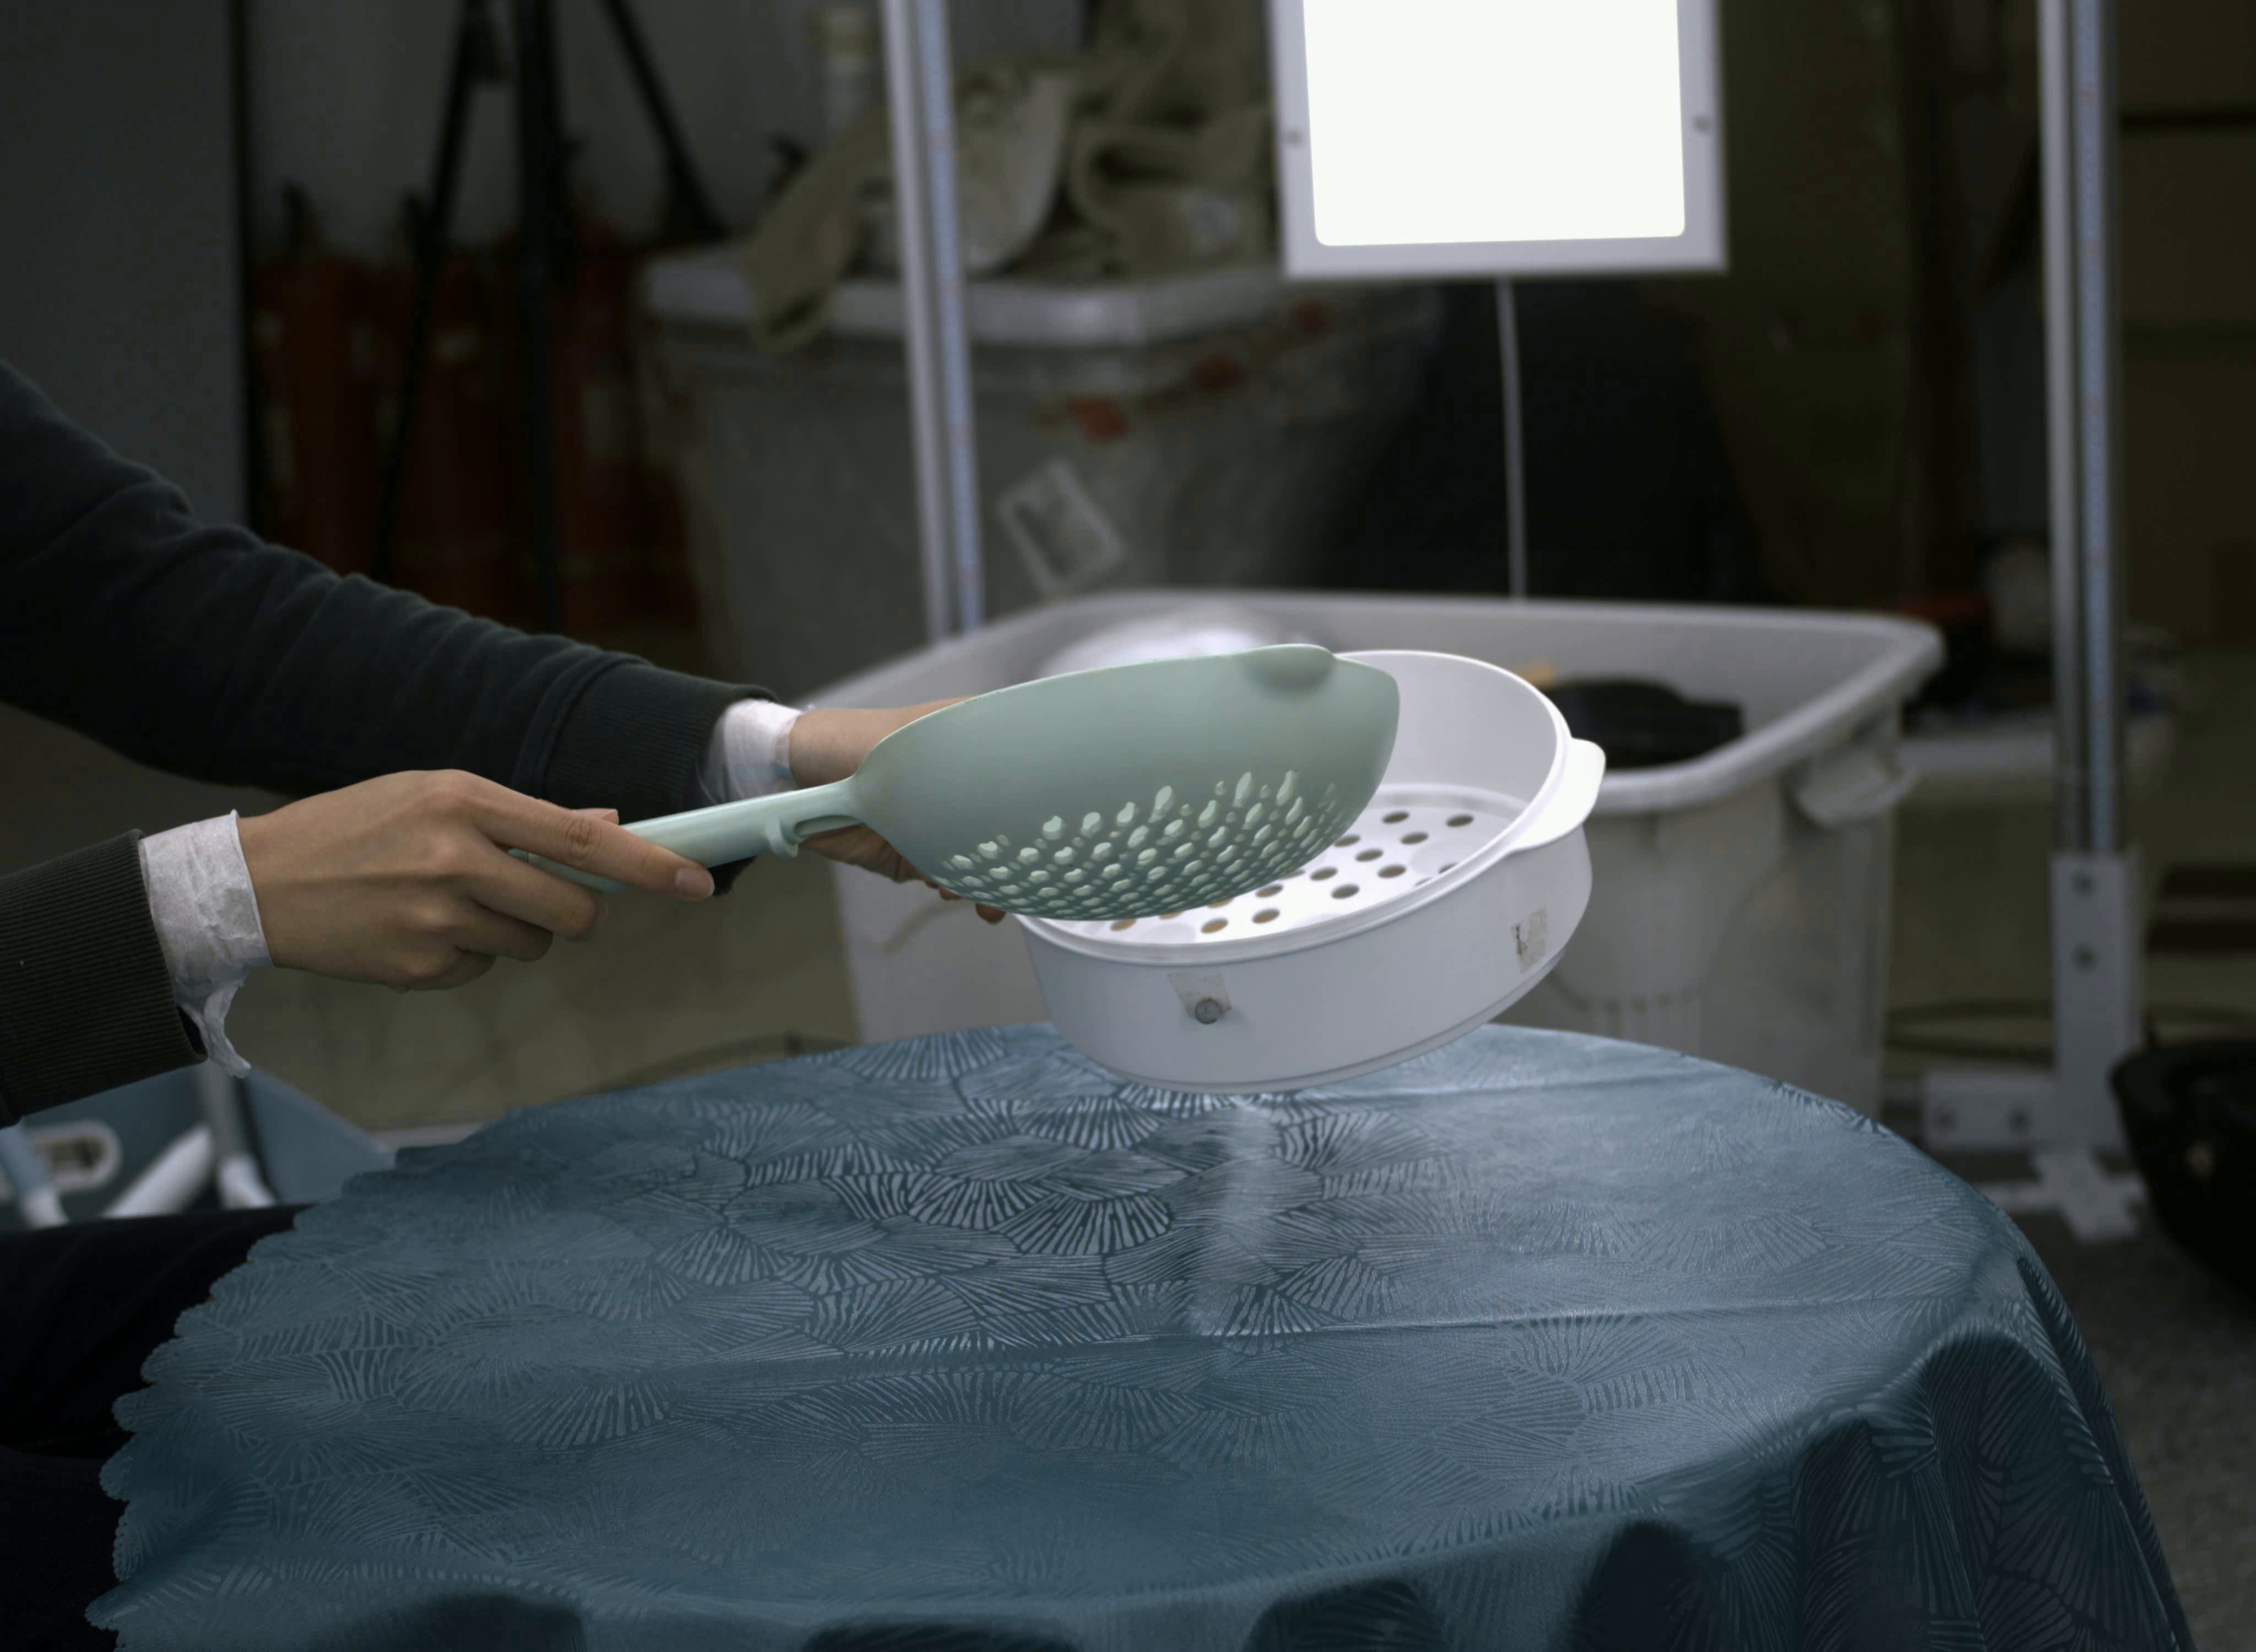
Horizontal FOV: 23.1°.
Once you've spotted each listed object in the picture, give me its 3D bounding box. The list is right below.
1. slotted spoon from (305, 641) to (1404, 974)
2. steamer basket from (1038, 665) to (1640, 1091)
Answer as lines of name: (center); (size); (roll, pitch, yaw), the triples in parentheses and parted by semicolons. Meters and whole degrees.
slotted spoon: (-0.090, 0.000, 1.736); (0.362, 0.075, 0.167); (-3, -13, 14)
steamer basket: (0.066, 0.017, 1.871); (0.234, 0.069, 0.198); (-3, 27, 24)
